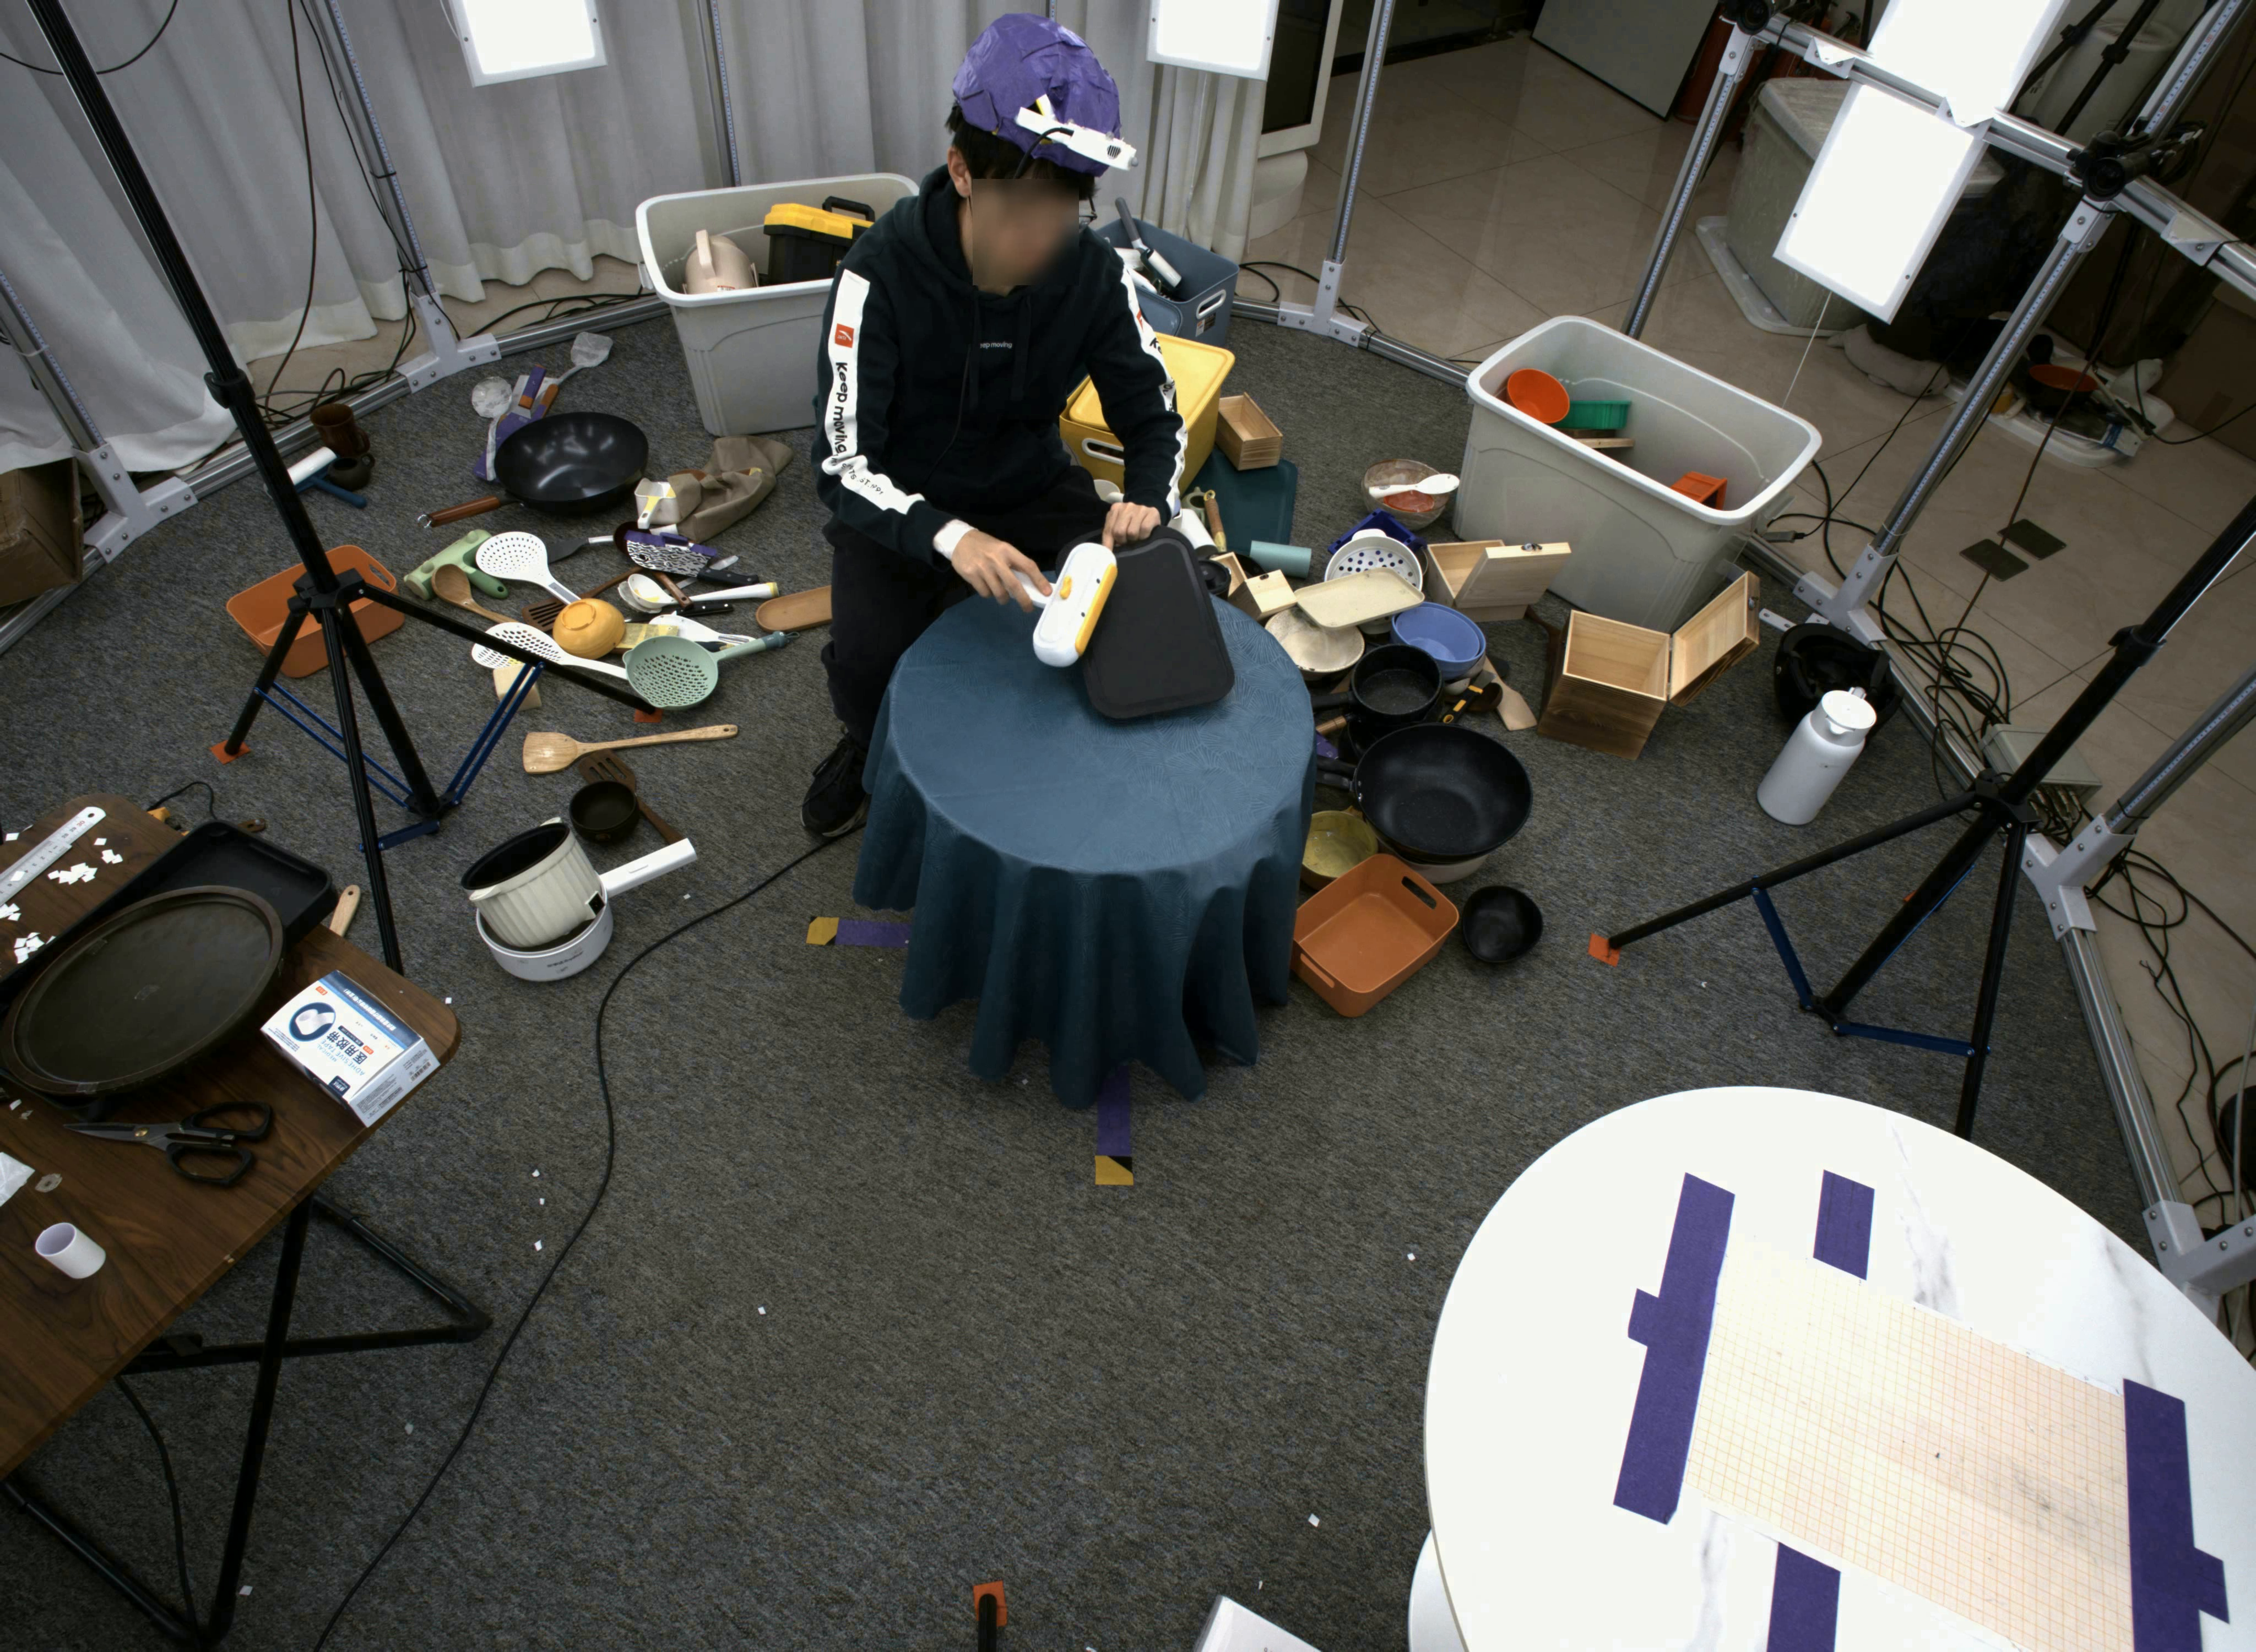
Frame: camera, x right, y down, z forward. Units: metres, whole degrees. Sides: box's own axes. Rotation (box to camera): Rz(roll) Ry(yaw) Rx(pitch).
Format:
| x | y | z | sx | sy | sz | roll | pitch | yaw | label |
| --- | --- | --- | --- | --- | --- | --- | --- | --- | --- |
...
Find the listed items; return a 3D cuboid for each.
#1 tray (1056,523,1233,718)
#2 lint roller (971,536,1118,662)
| x | y | z | sx | sy | sz | roll | pitch | yaw | label |
| --- | --- | --- | --- | --- | --- | --- | --- | --- | --- |
| 0.019 | -0.305 | 1.853 | 0.211 | 0.009 | 0.332 | -11 | 64 | -8 | tray |
| -0.127 | -0.332 | 1.819 | 0.193 | 0.073 | 0.195 | 11 | 71 | 19 | lint roller |
